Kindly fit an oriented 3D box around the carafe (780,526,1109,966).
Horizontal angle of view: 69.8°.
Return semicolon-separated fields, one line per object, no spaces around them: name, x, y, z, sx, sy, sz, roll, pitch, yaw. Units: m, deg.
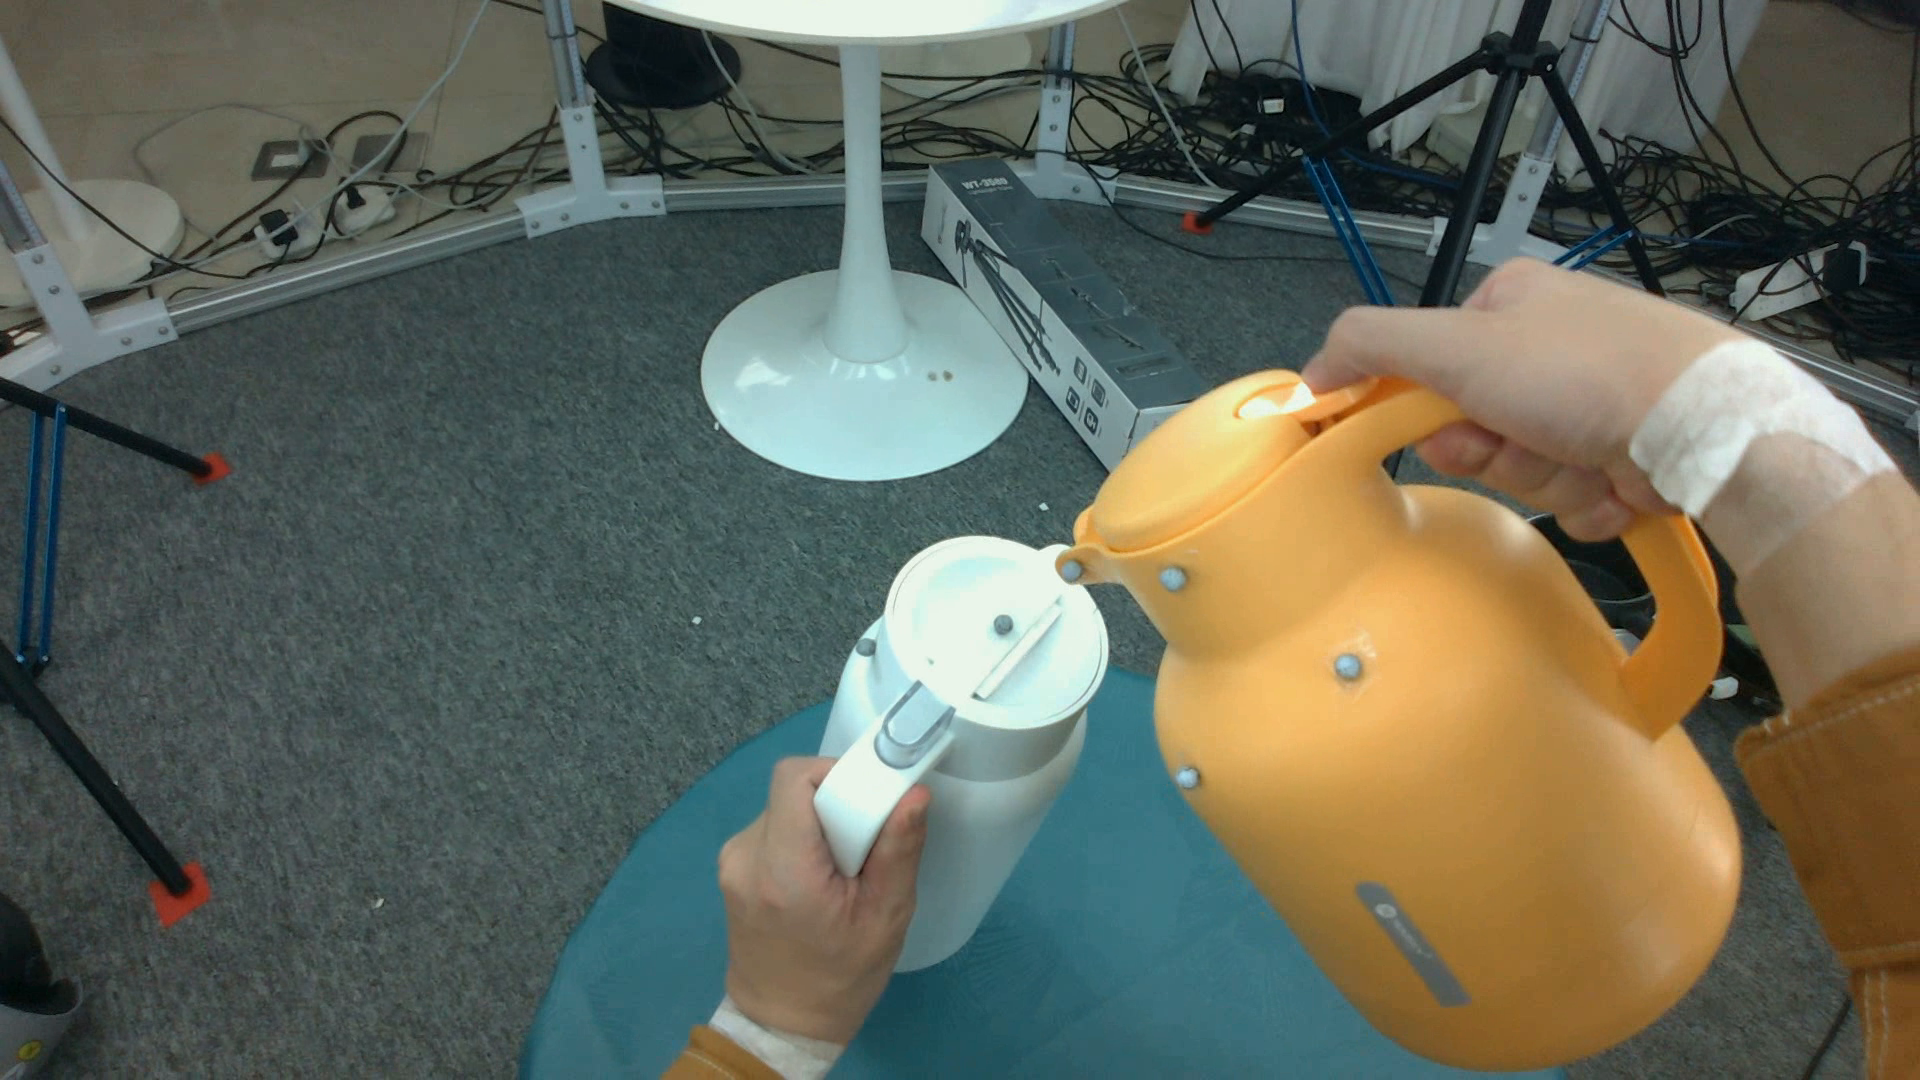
carafe;-0.022;0.121;0.675;0.124;0.267;0.173;37;52;10

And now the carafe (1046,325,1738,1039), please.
carafe;0.168;0.044;0.500;0.260;0.201;0.164;47;42;-16
